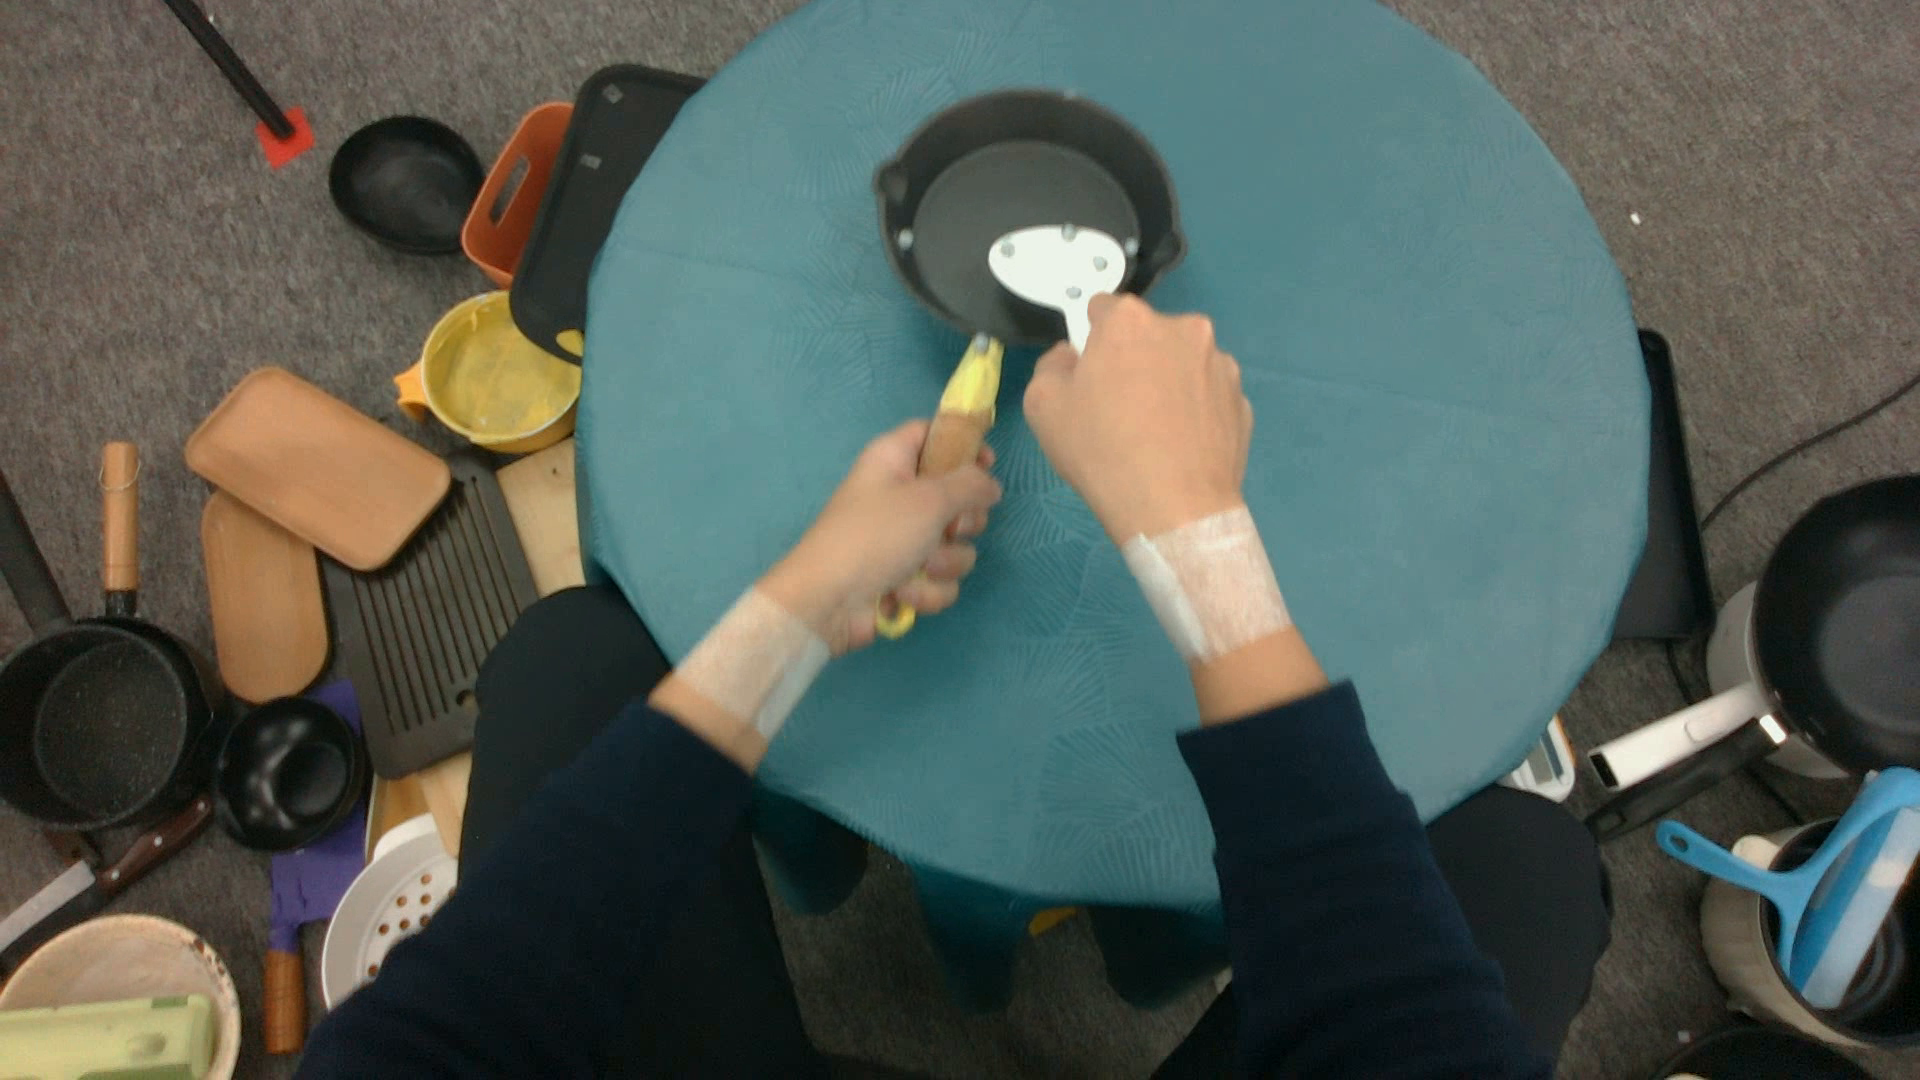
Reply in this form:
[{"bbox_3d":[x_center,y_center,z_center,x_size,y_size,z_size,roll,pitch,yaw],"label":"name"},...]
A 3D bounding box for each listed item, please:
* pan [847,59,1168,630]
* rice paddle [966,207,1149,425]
[{"bbox_3d":[0.001,-0.104,0.698,0.169,0.049,0.325,17,72,5],"label":"pan"},{"bbox_3d":[0.047,-0.121,0.660,0.069,0.029,0.206,-6,37,-7],"label":"rice paddle"}]
